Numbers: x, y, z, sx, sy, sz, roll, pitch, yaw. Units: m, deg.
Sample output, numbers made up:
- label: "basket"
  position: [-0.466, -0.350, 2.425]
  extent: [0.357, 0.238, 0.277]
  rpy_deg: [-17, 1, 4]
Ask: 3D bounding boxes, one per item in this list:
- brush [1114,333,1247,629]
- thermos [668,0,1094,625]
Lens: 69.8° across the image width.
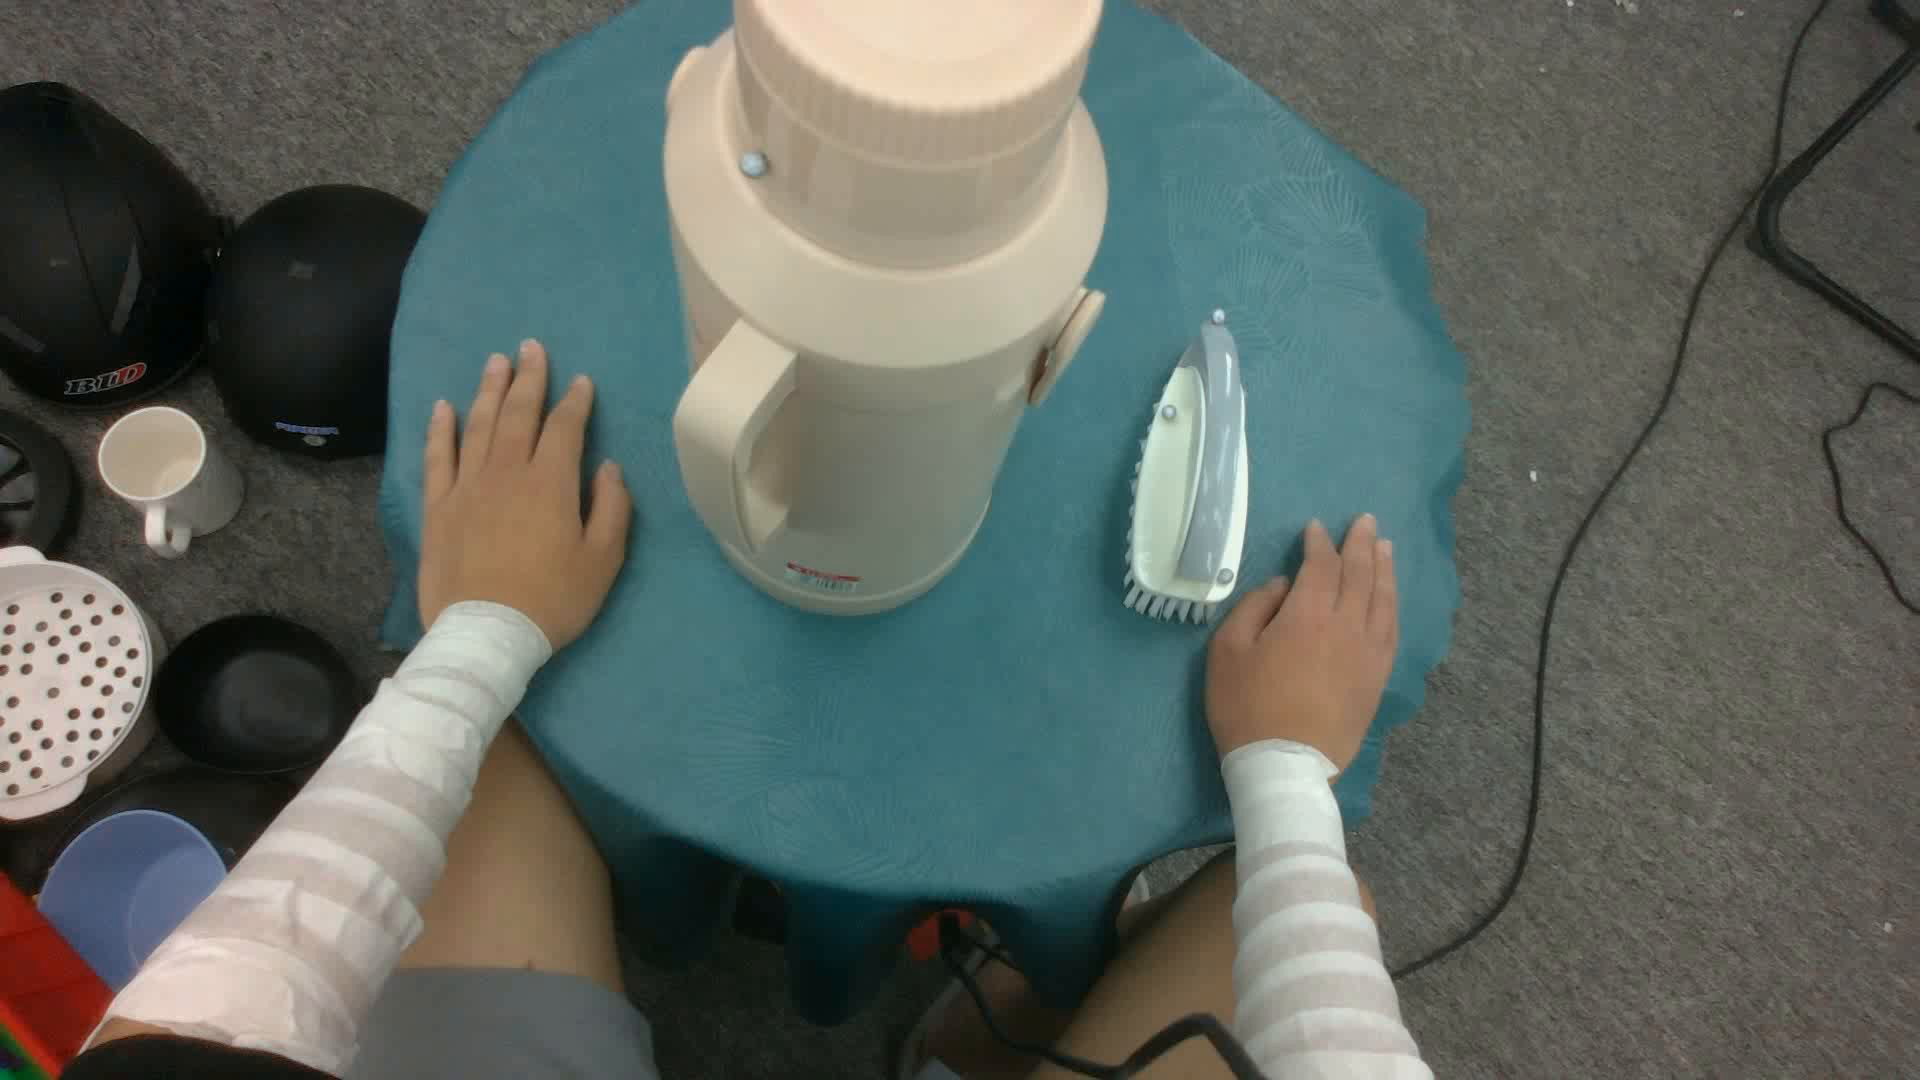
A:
- label: "brush"
  position: [0.129, -0.046, 0.763]
  extent: [0.061, 0.094, 0.176]
  rpy_deg: [12, 66, -9]
- label: "thermos"
  position: [-0.048, -0.082, 0.589]
  extent: [0.175, 0.405, 0.208]
  rpy_deg: [31, 69, 3]
